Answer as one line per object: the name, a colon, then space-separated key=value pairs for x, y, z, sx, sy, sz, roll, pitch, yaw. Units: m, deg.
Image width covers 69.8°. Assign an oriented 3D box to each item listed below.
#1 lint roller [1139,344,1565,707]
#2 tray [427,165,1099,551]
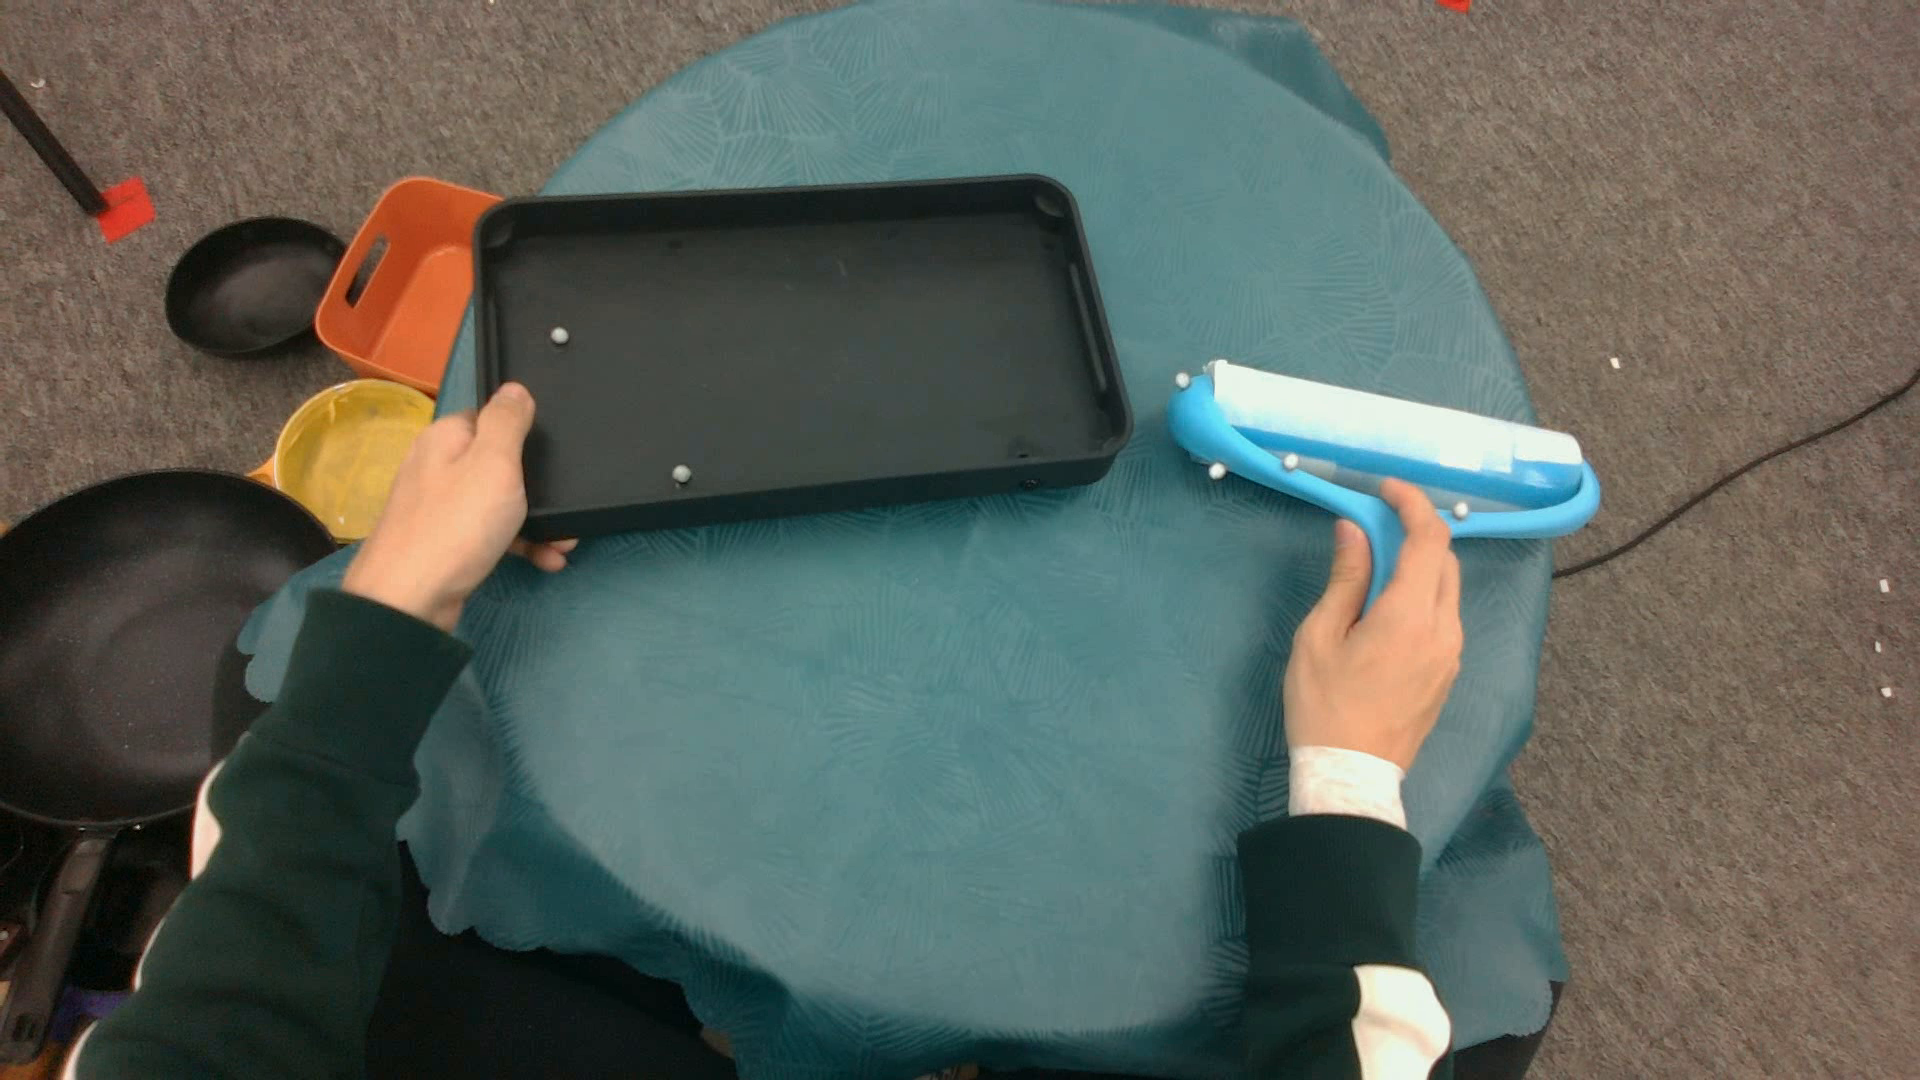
lint roller: x=0.203 y=-0.008 z=0.709 sx=0.229 sy=0.067 sz=0.181 roll=8 pitch=66 yaw=-7
tray: x=-0.100 y=-0.101 z=0.710 sx=0.318 sy=0.037 sz=0.185 roll=-9 pitch=65 yaw=-14
